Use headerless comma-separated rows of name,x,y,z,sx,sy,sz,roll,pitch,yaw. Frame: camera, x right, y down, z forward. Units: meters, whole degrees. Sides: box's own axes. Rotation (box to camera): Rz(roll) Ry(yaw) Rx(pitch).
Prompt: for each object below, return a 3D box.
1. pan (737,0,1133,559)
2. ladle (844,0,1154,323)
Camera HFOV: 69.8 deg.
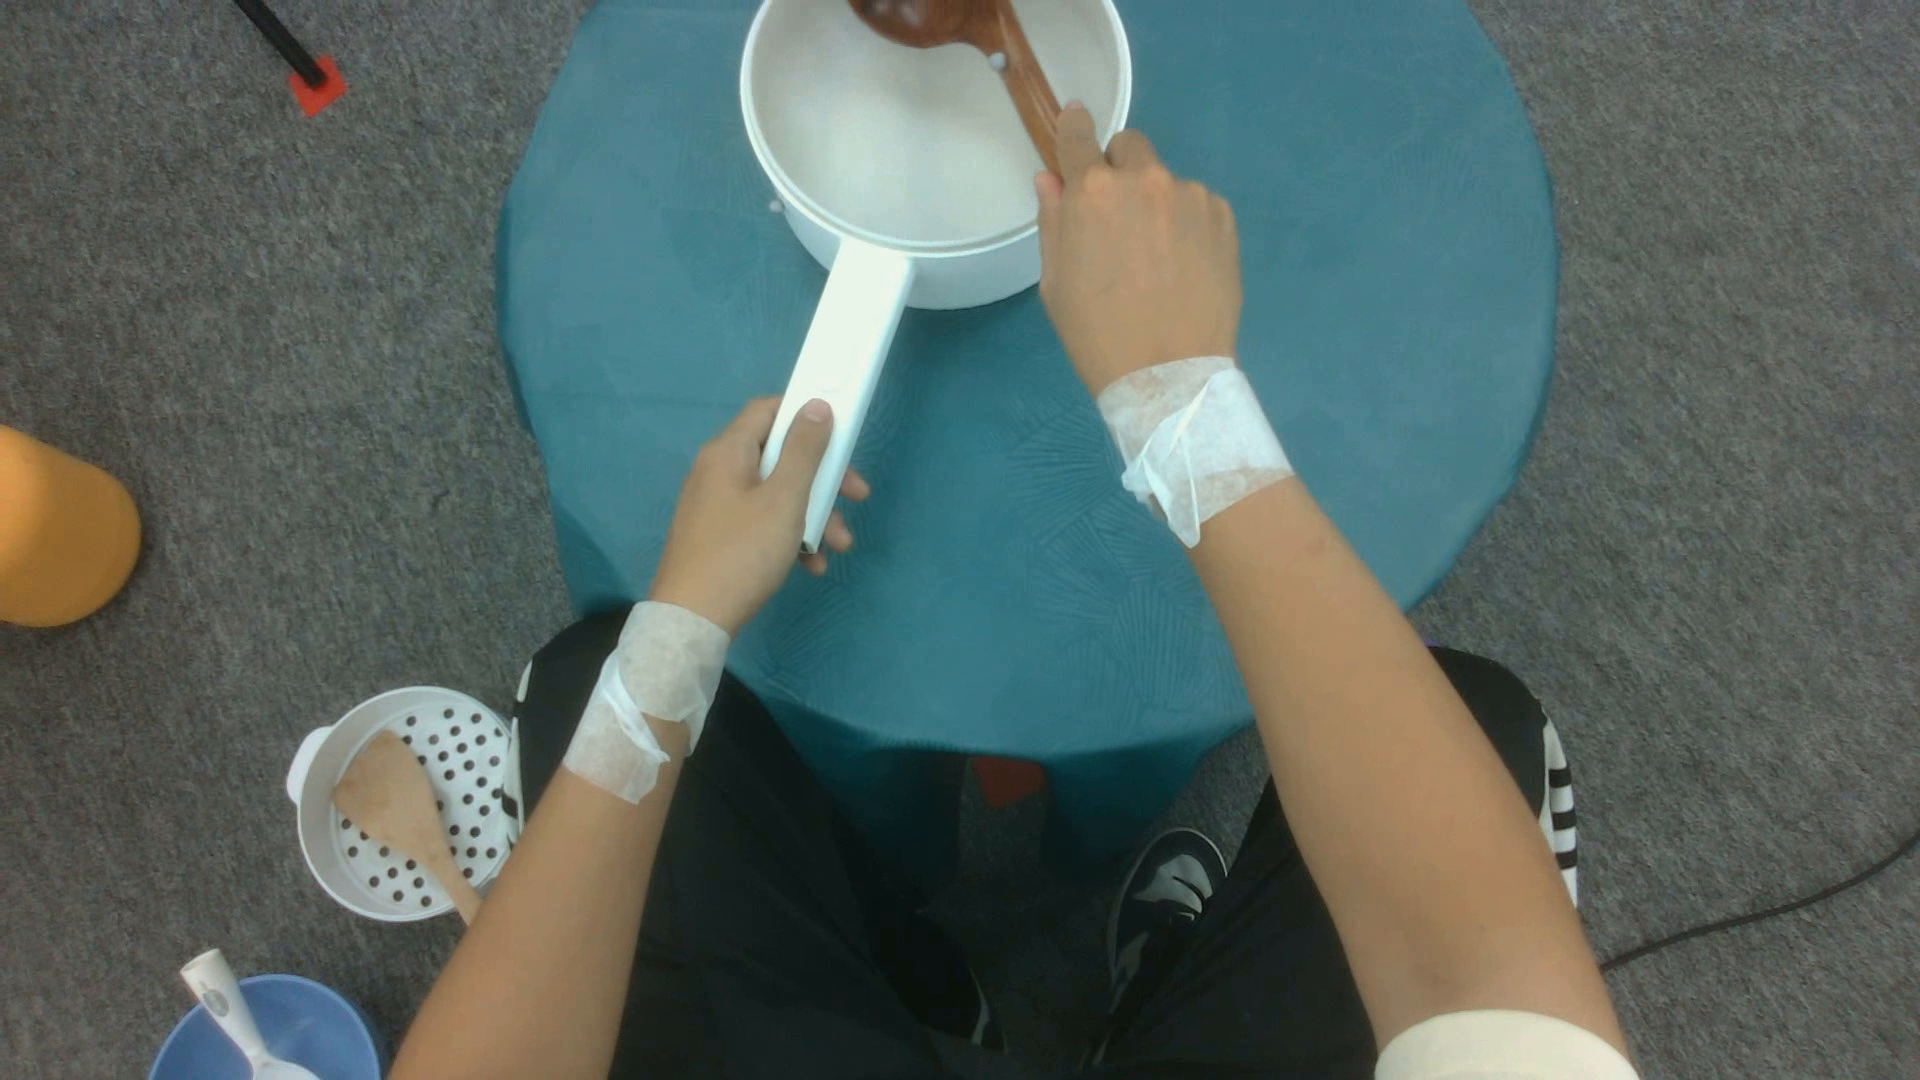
pan,-0.032,-0.152,0.751,0.201,0.102,0.355,17,77,6
ladle,0.009,-0.207,0.661,0.077,0.081,0.275,-7,55,-20
